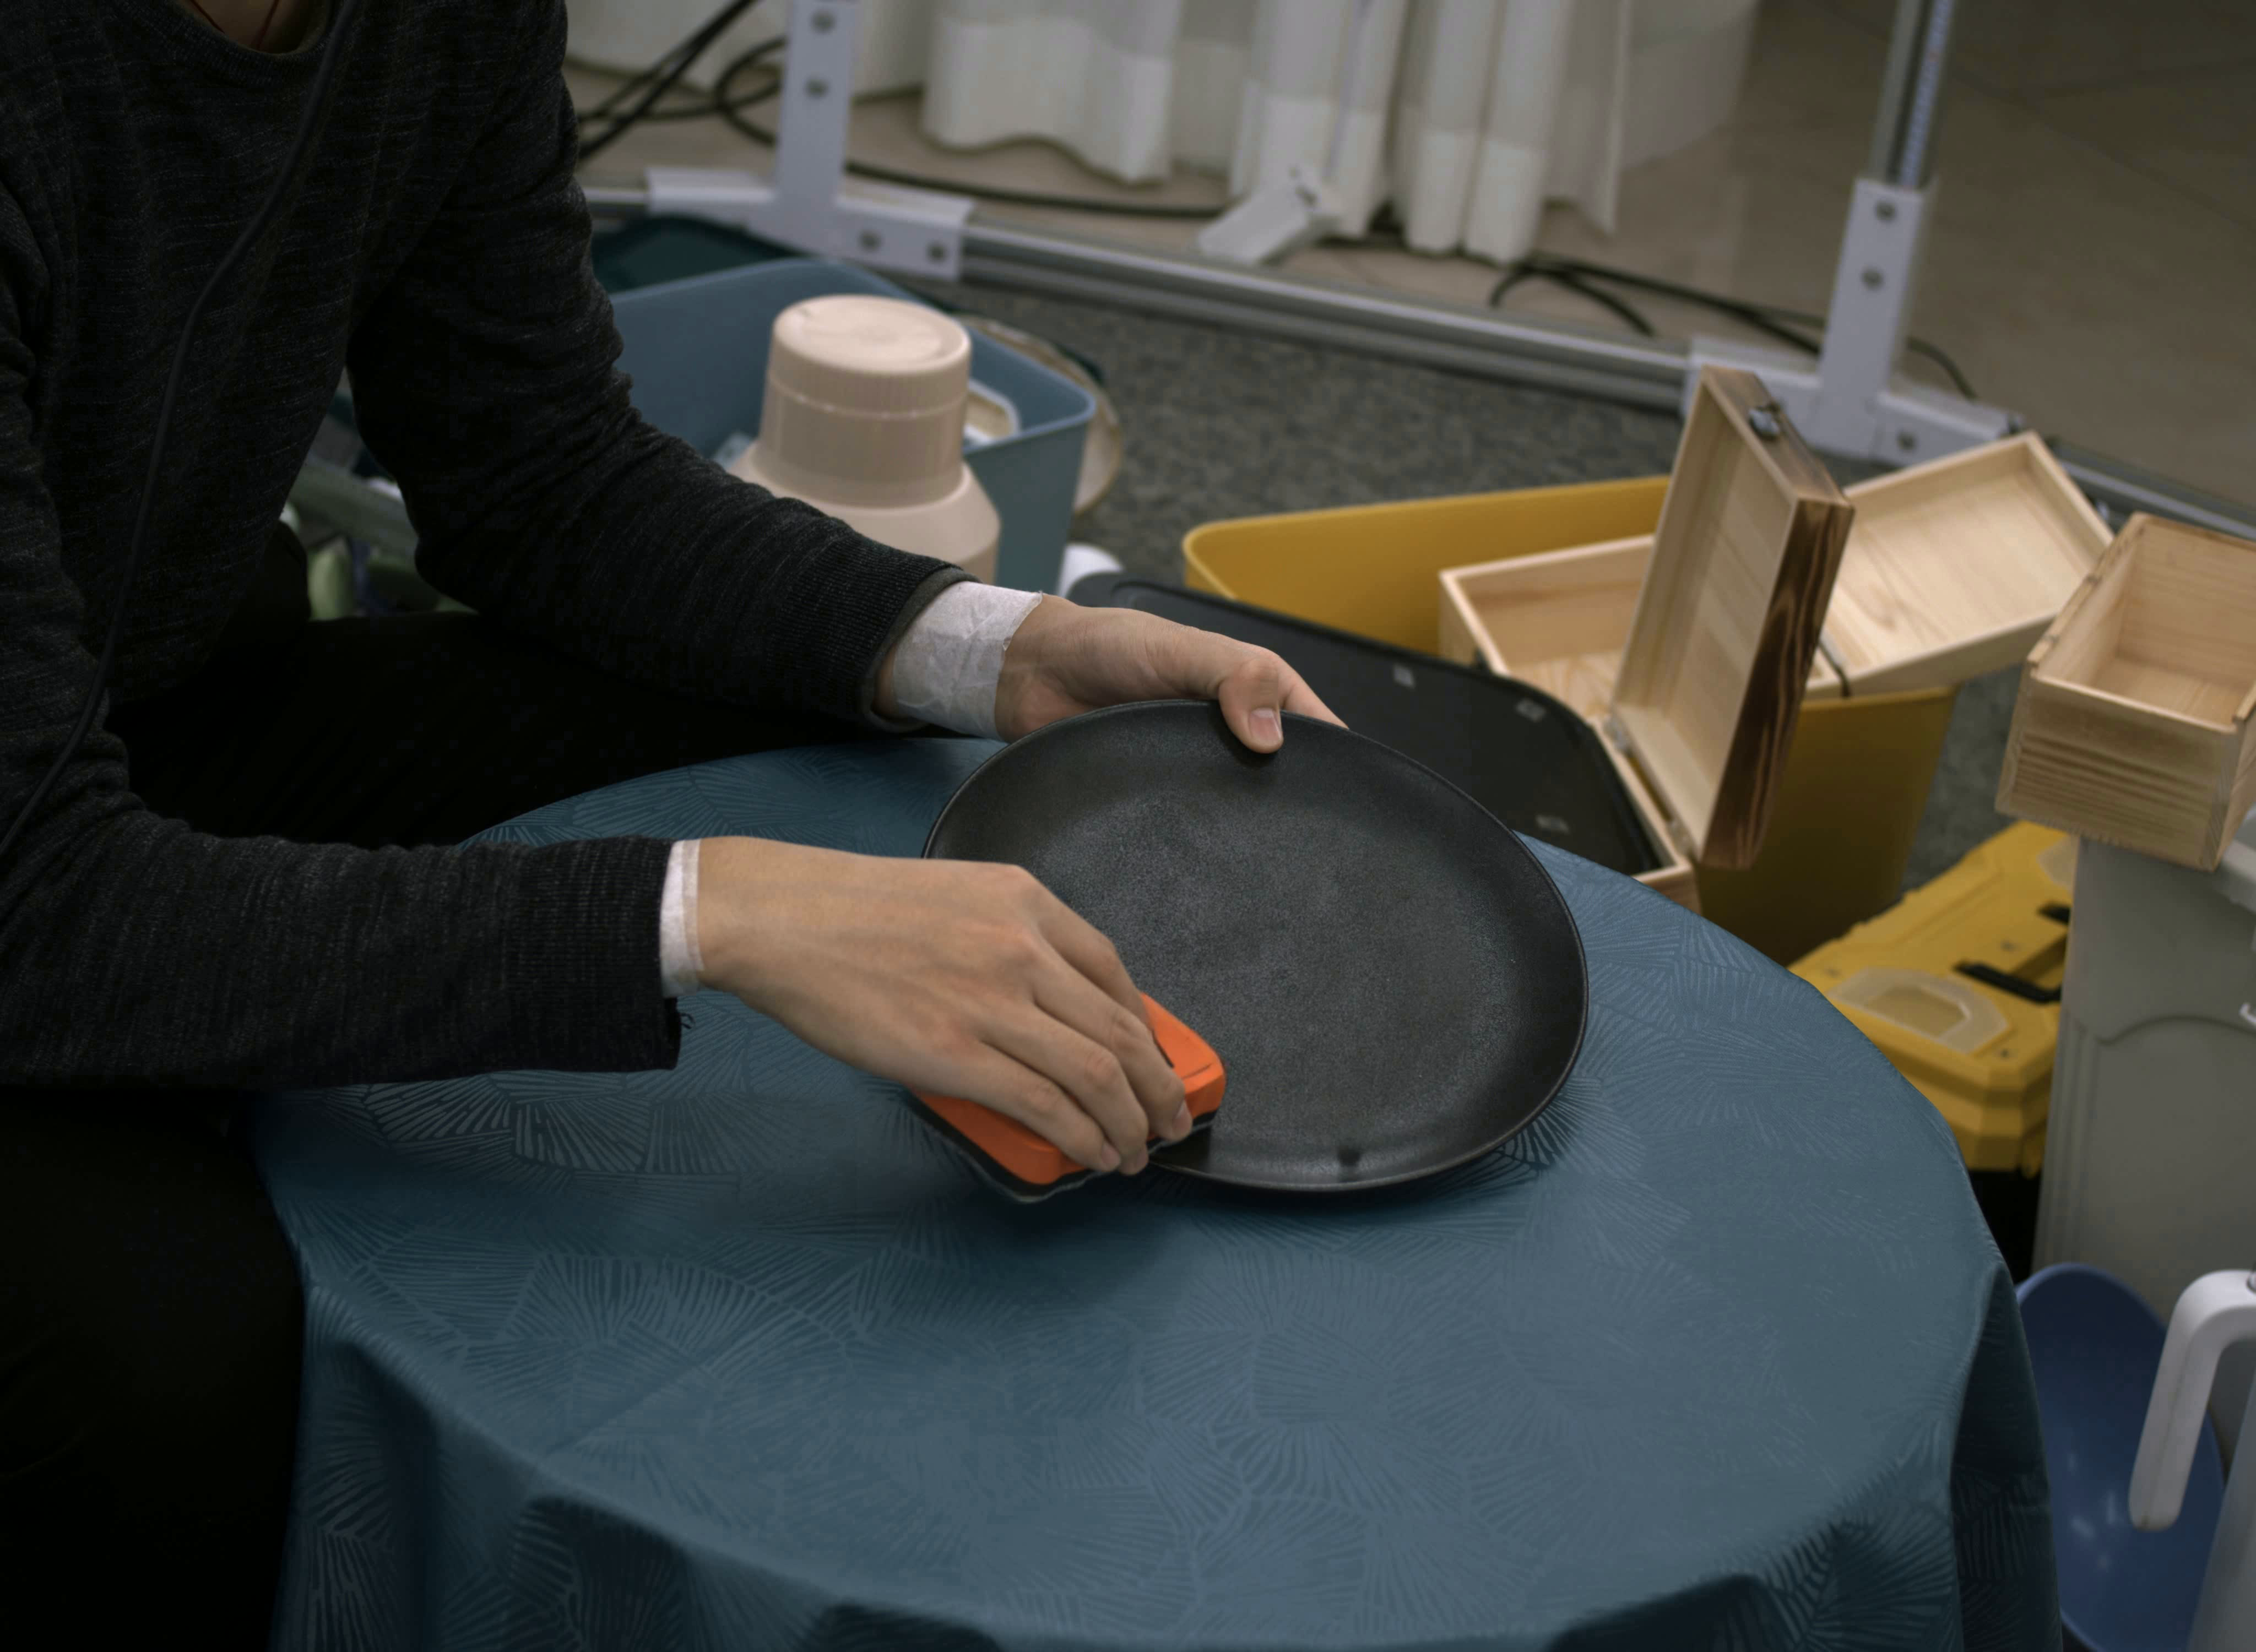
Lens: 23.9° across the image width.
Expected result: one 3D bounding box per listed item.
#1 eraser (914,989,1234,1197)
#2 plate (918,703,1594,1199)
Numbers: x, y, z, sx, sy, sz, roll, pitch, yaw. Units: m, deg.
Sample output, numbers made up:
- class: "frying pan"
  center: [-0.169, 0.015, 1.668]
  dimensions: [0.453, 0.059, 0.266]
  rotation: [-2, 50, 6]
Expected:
- class: "eraser"
  center: [-0.018, 0.089, 1.790]
  dimensions: [0.059, 0.023, 0.107]
  rotation: [37, 34, 29]
- class: "plate"
  center: [0.044, 0.046, 1.885]
  dimensions: [0.243, 0.023, 0.246]
  rotation: [7, 43, -7]
